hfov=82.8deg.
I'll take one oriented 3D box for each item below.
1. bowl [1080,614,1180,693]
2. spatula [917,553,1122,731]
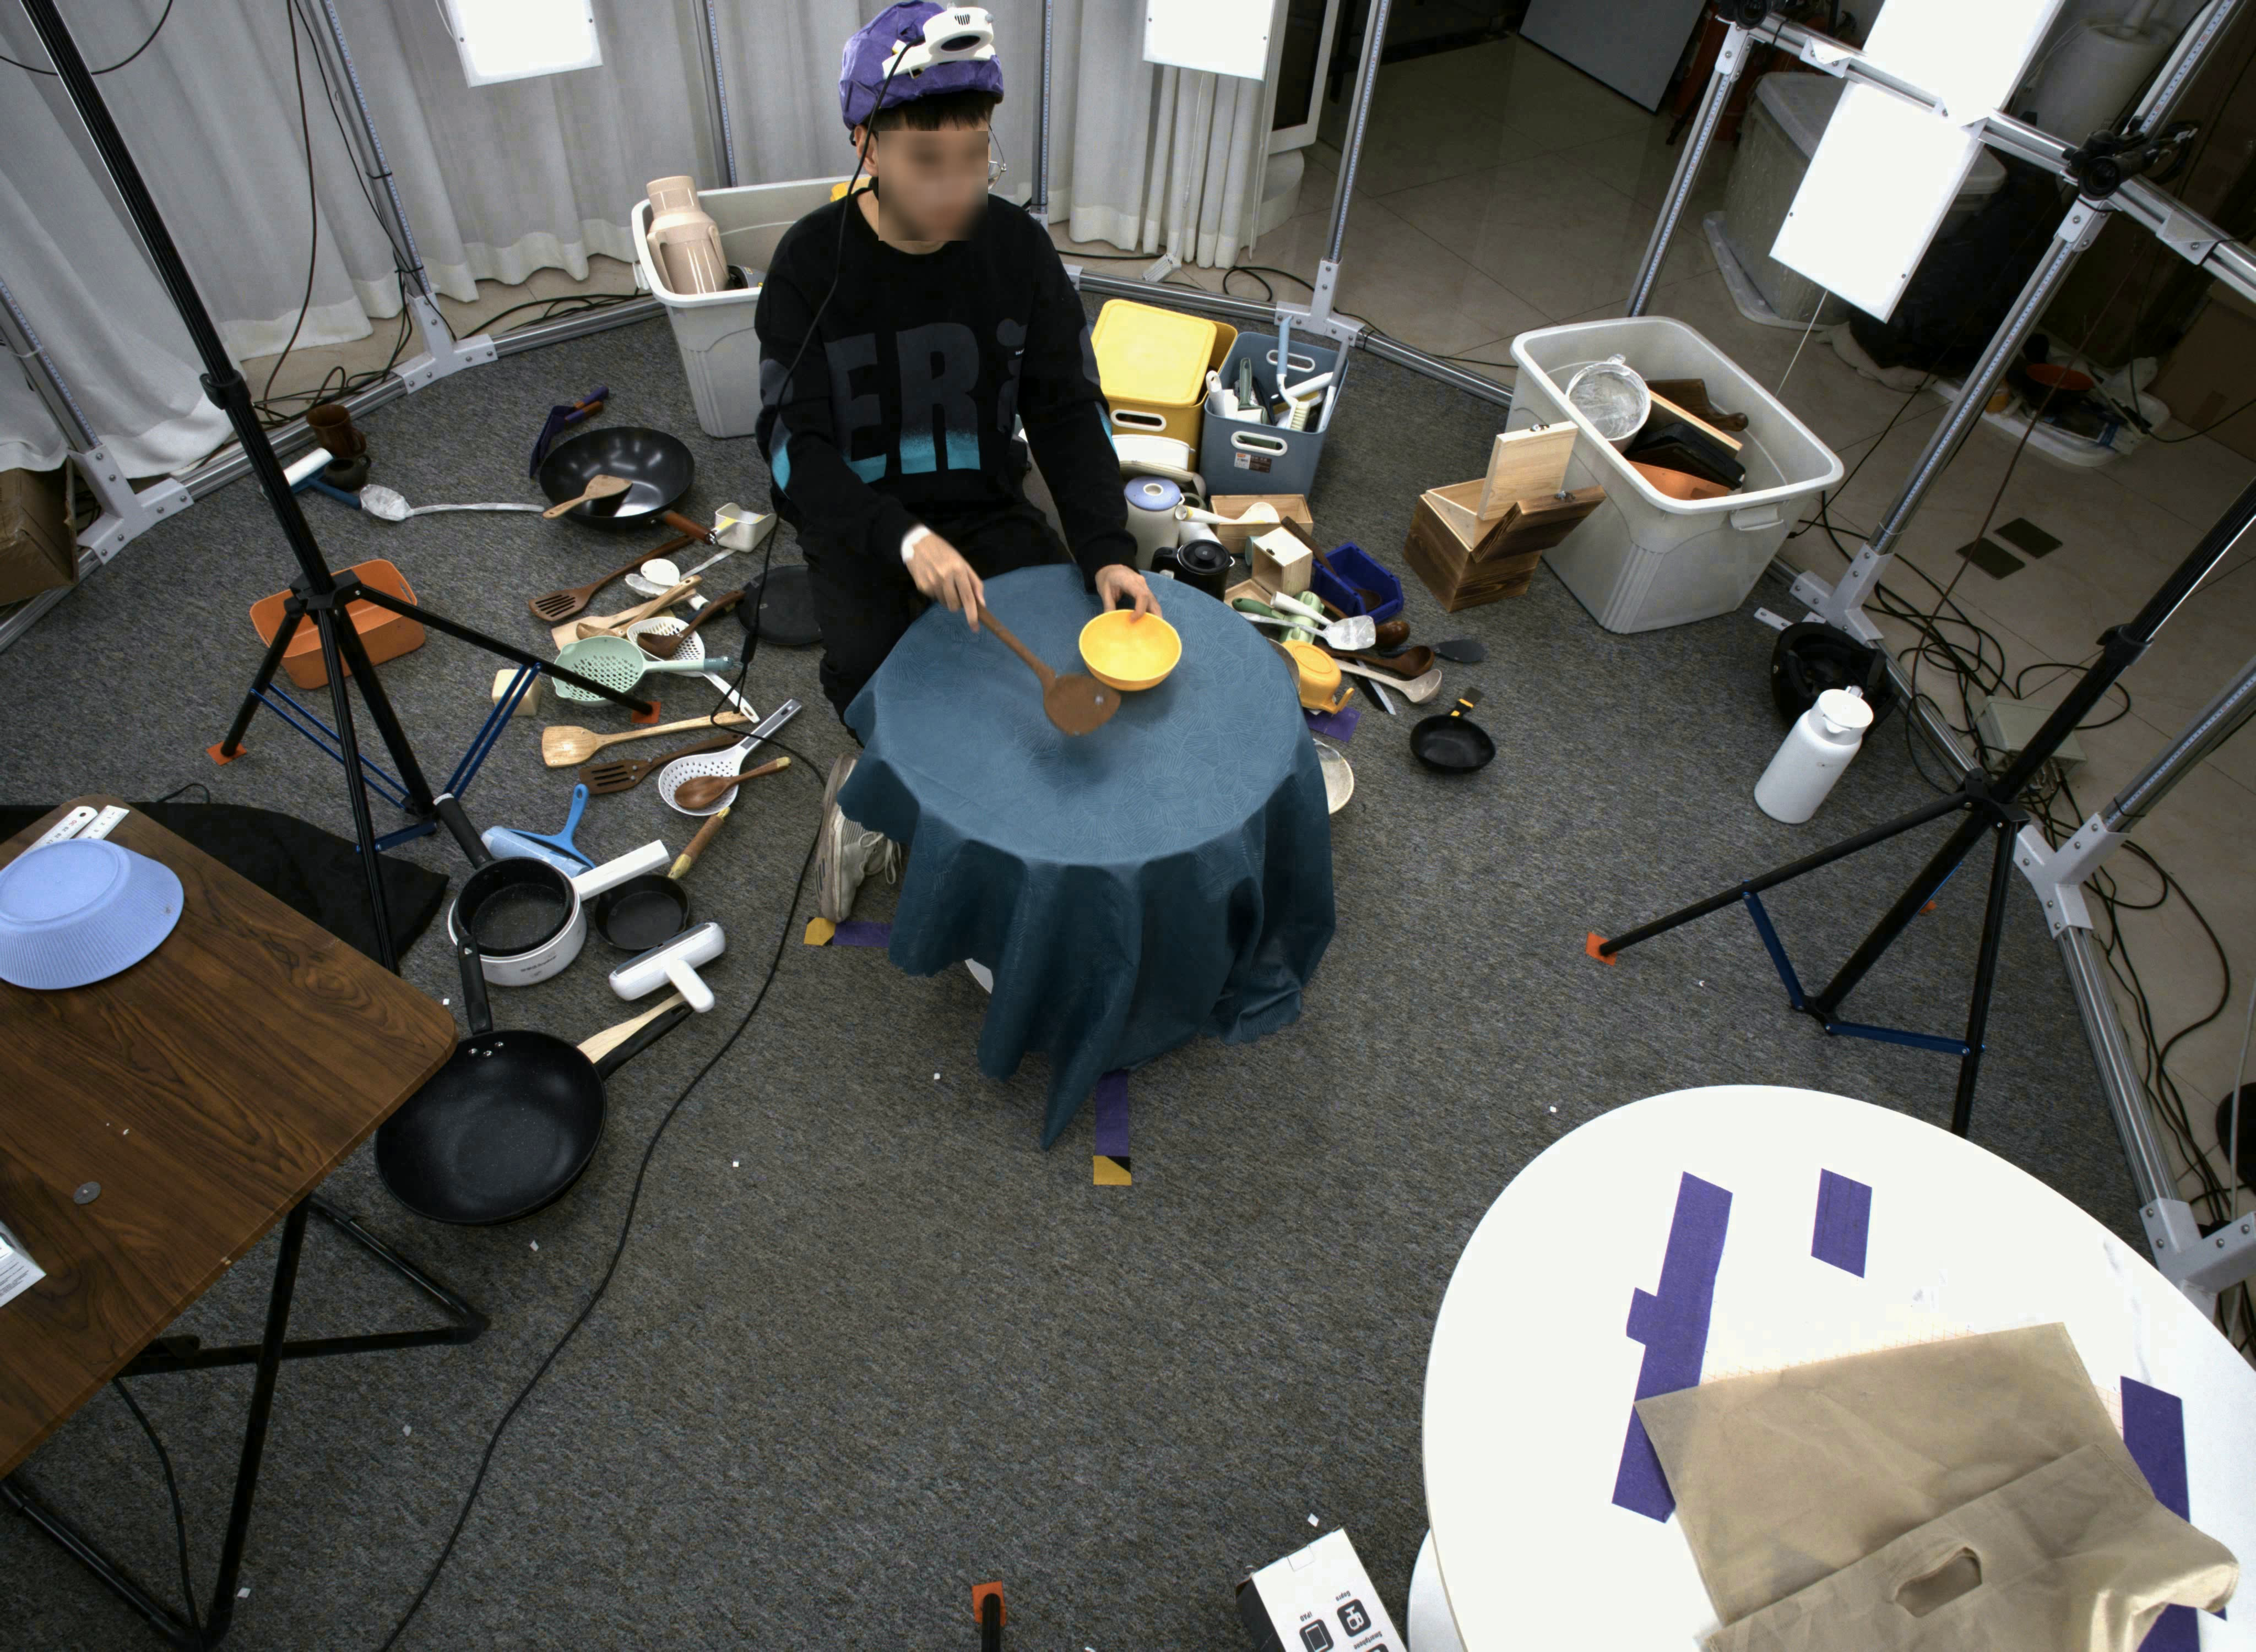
[{"bbox_3d":[0.001,-0.237,1.855,0.145,0.058,0.149,3,48,-4],"label":"bowl"},{"bbox_3d":[-0.165,-0.266,1.777,0.097,0.015,0.391,-39,68,-20],"label":"spatula"}]
